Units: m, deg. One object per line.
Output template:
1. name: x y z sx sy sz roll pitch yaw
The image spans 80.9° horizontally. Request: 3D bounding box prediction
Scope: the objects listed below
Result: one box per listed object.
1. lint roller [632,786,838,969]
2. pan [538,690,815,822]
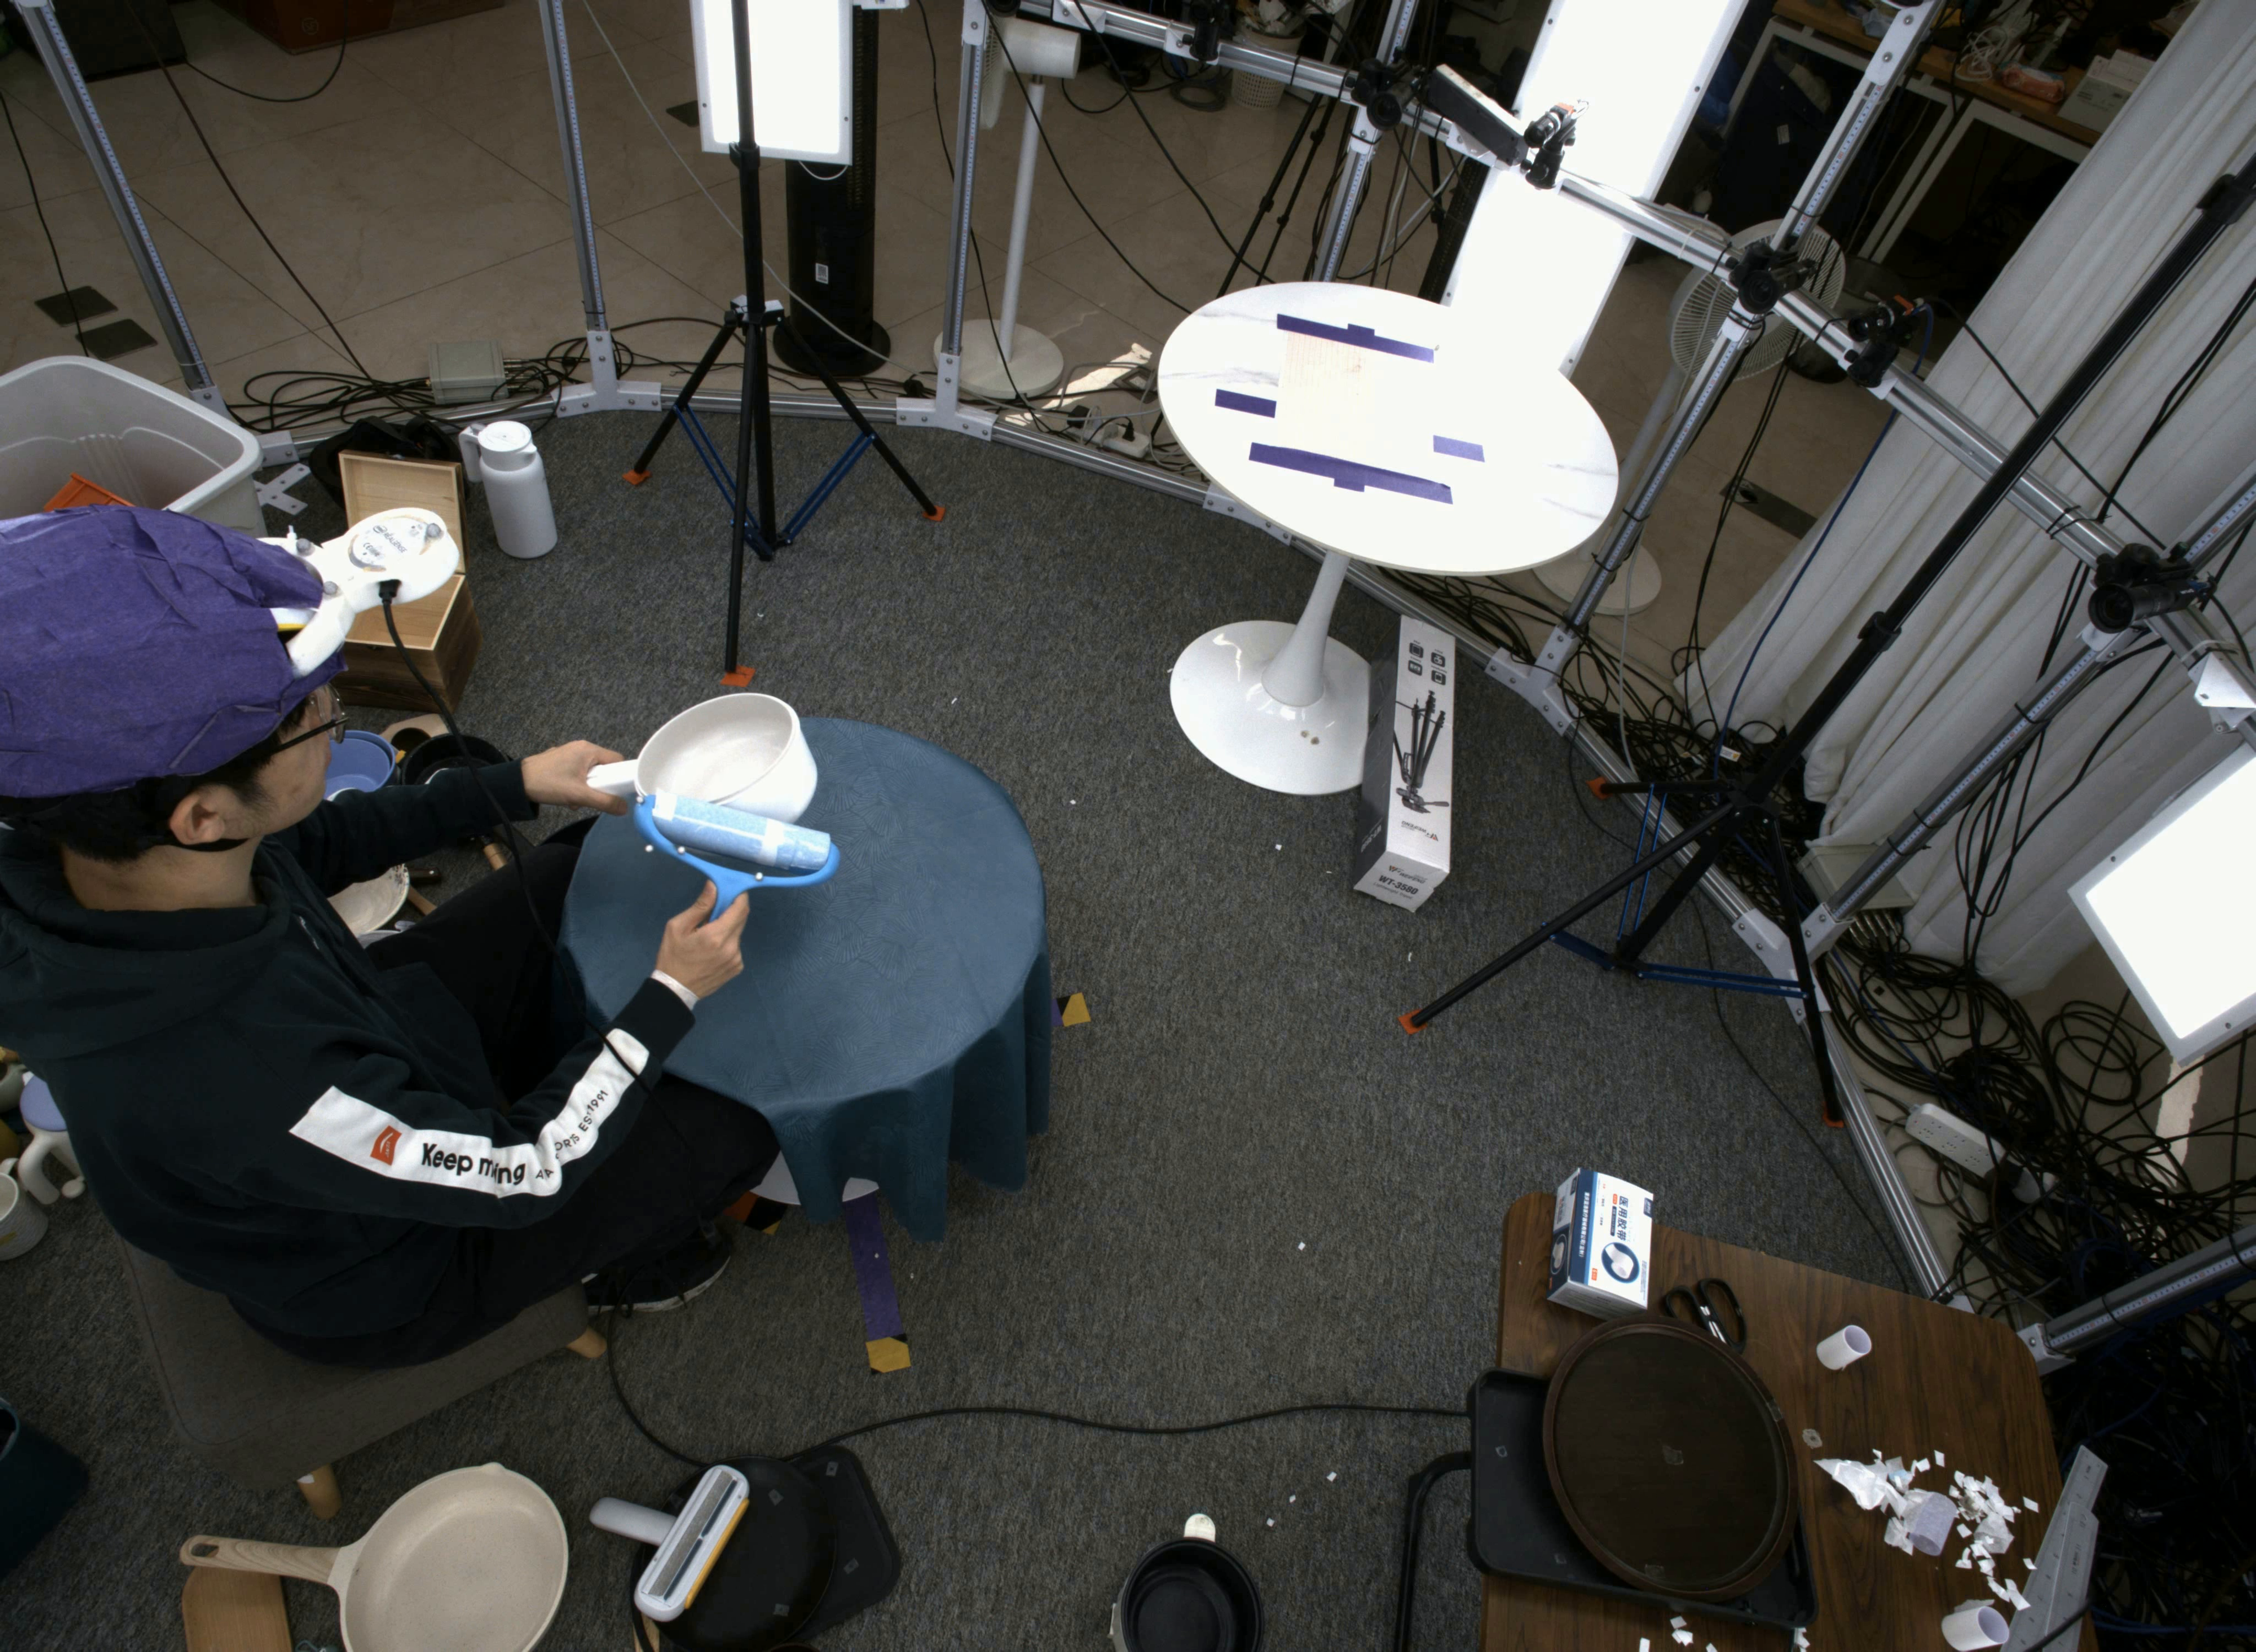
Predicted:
1. lint roller: -0.438 0.062 1.412 0.233 0.067 0.180 13 75 -26
2. pan: -0.546 -0.046 1.535 0.349 0.106 0.196 -10 45 5
